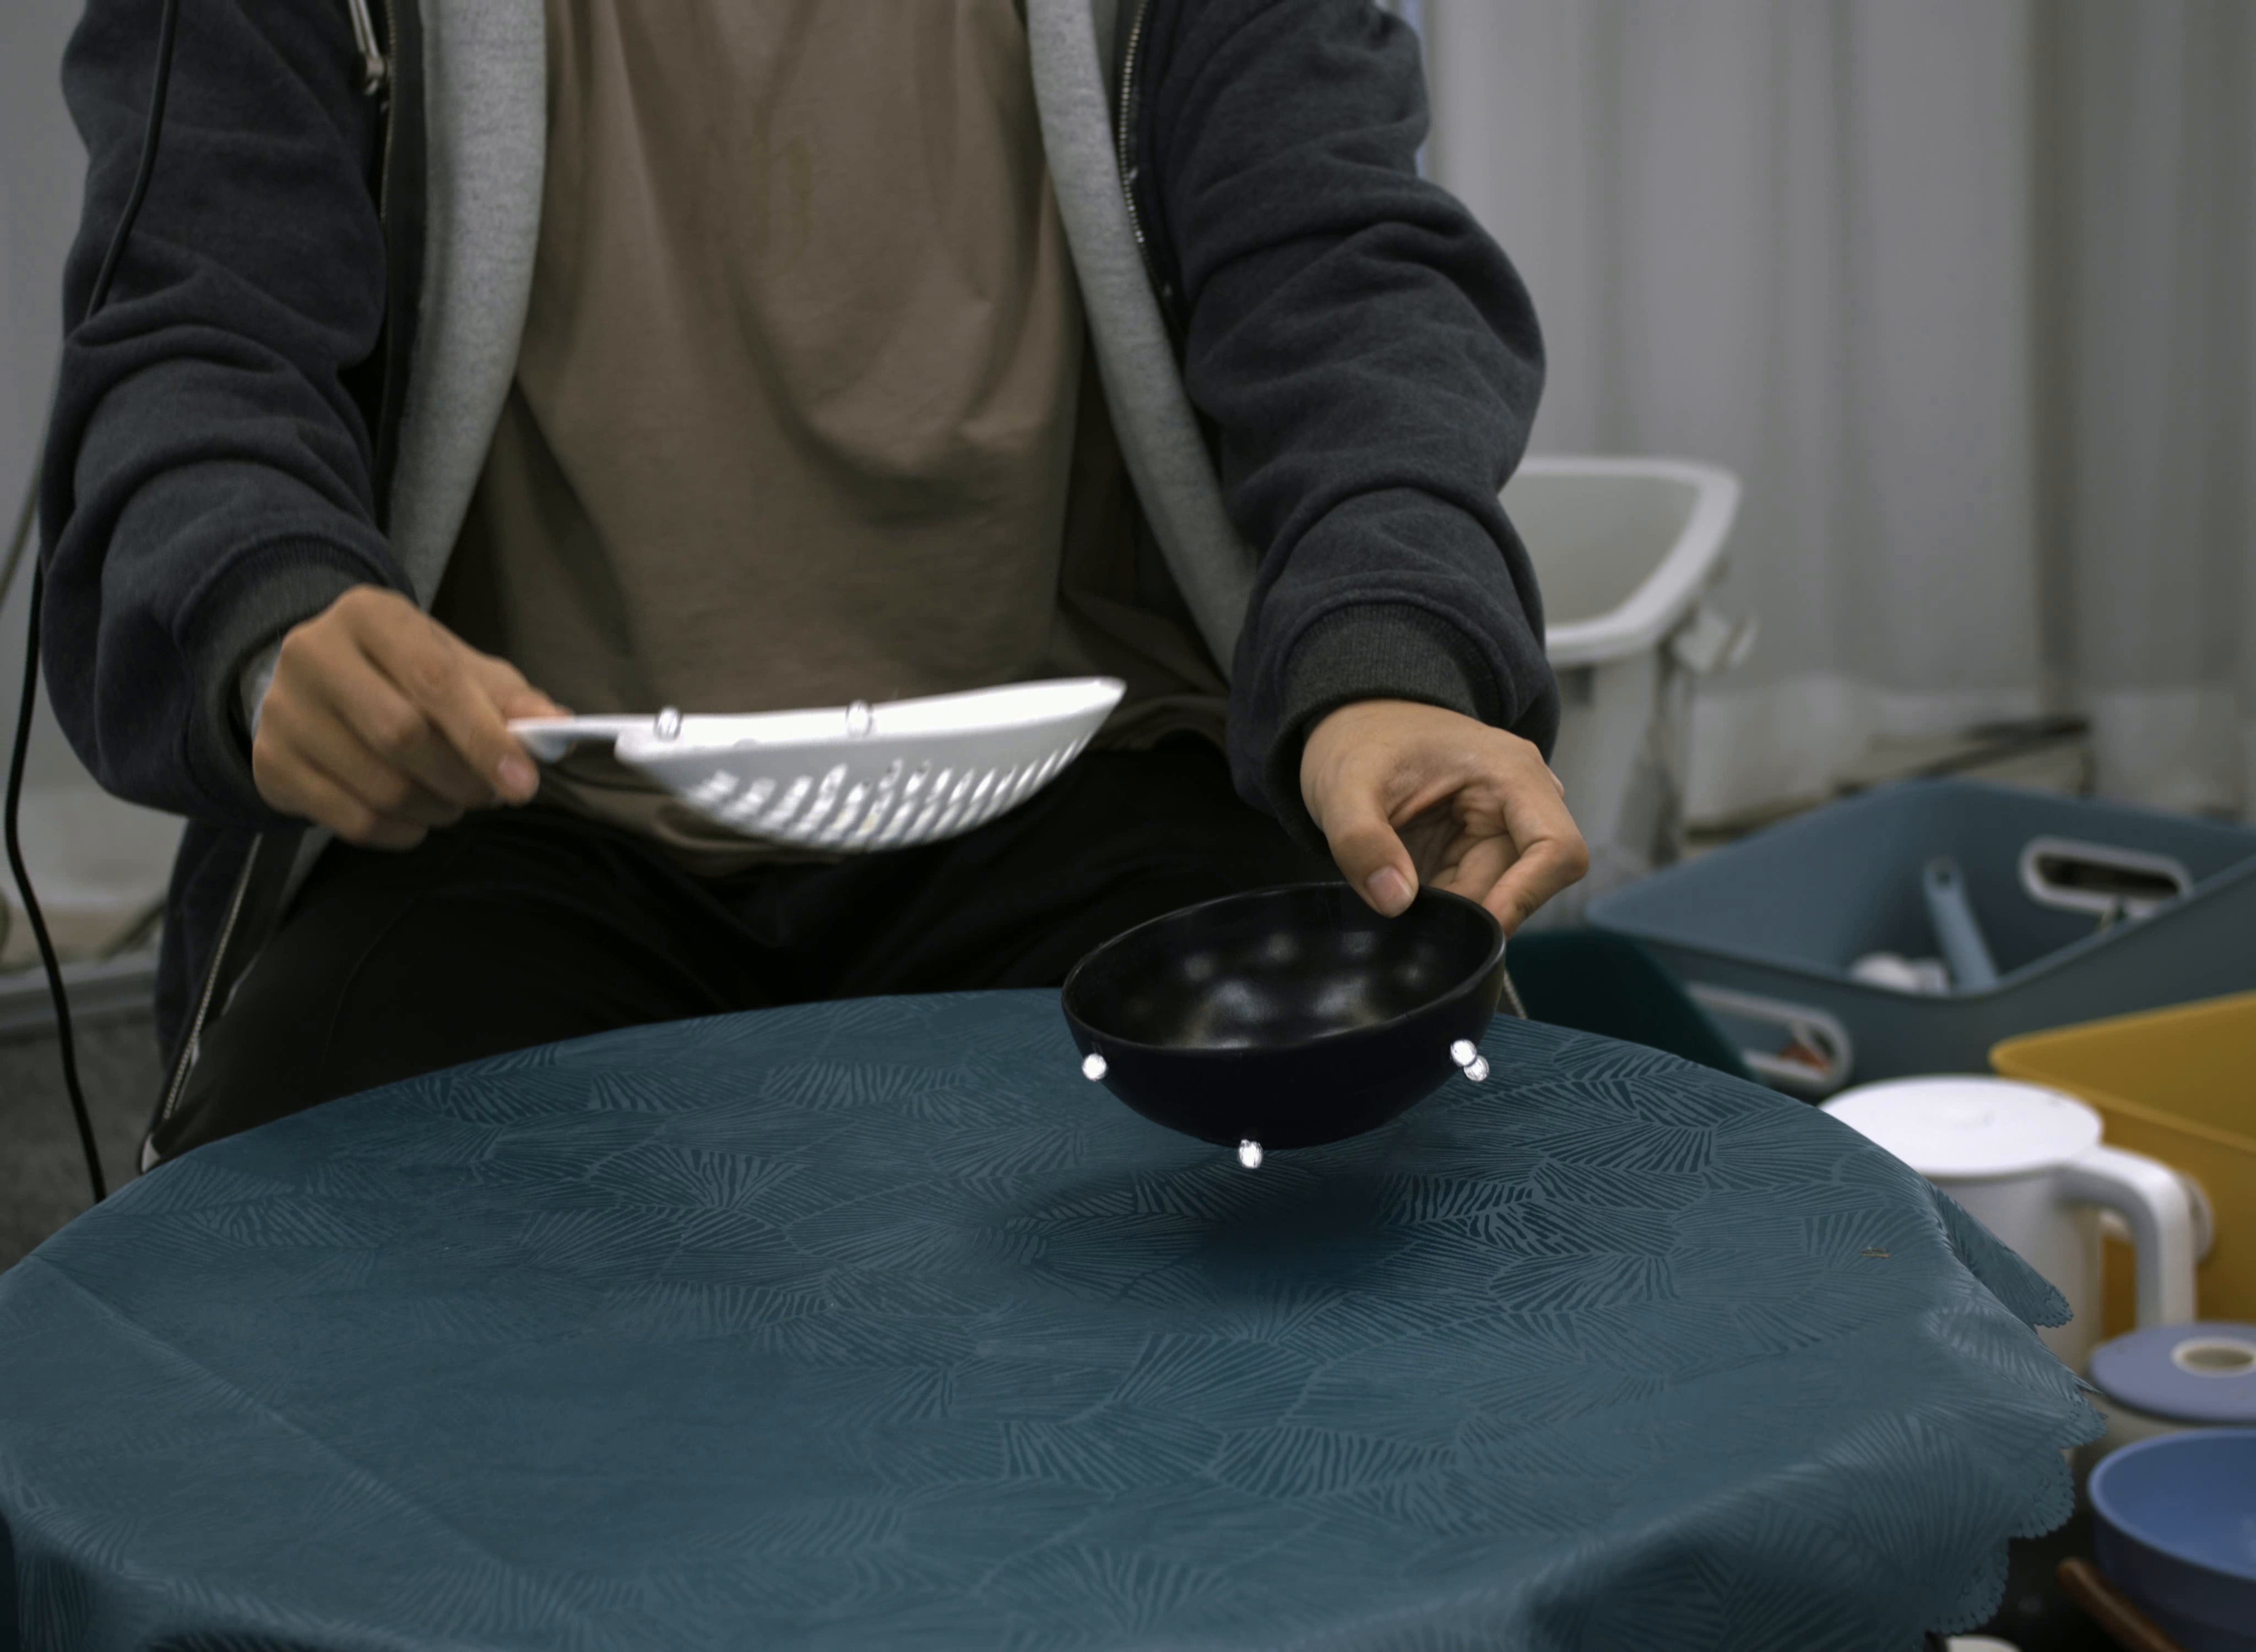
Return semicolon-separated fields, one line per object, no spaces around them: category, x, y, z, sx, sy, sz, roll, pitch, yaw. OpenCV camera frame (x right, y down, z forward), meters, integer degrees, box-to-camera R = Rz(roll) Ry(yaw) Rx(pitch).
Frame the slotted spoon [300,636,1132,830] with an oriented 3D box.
slotted spoon;-0.141;-0.023;1.653;0.136;0.050;0.349;-14;11;-42
